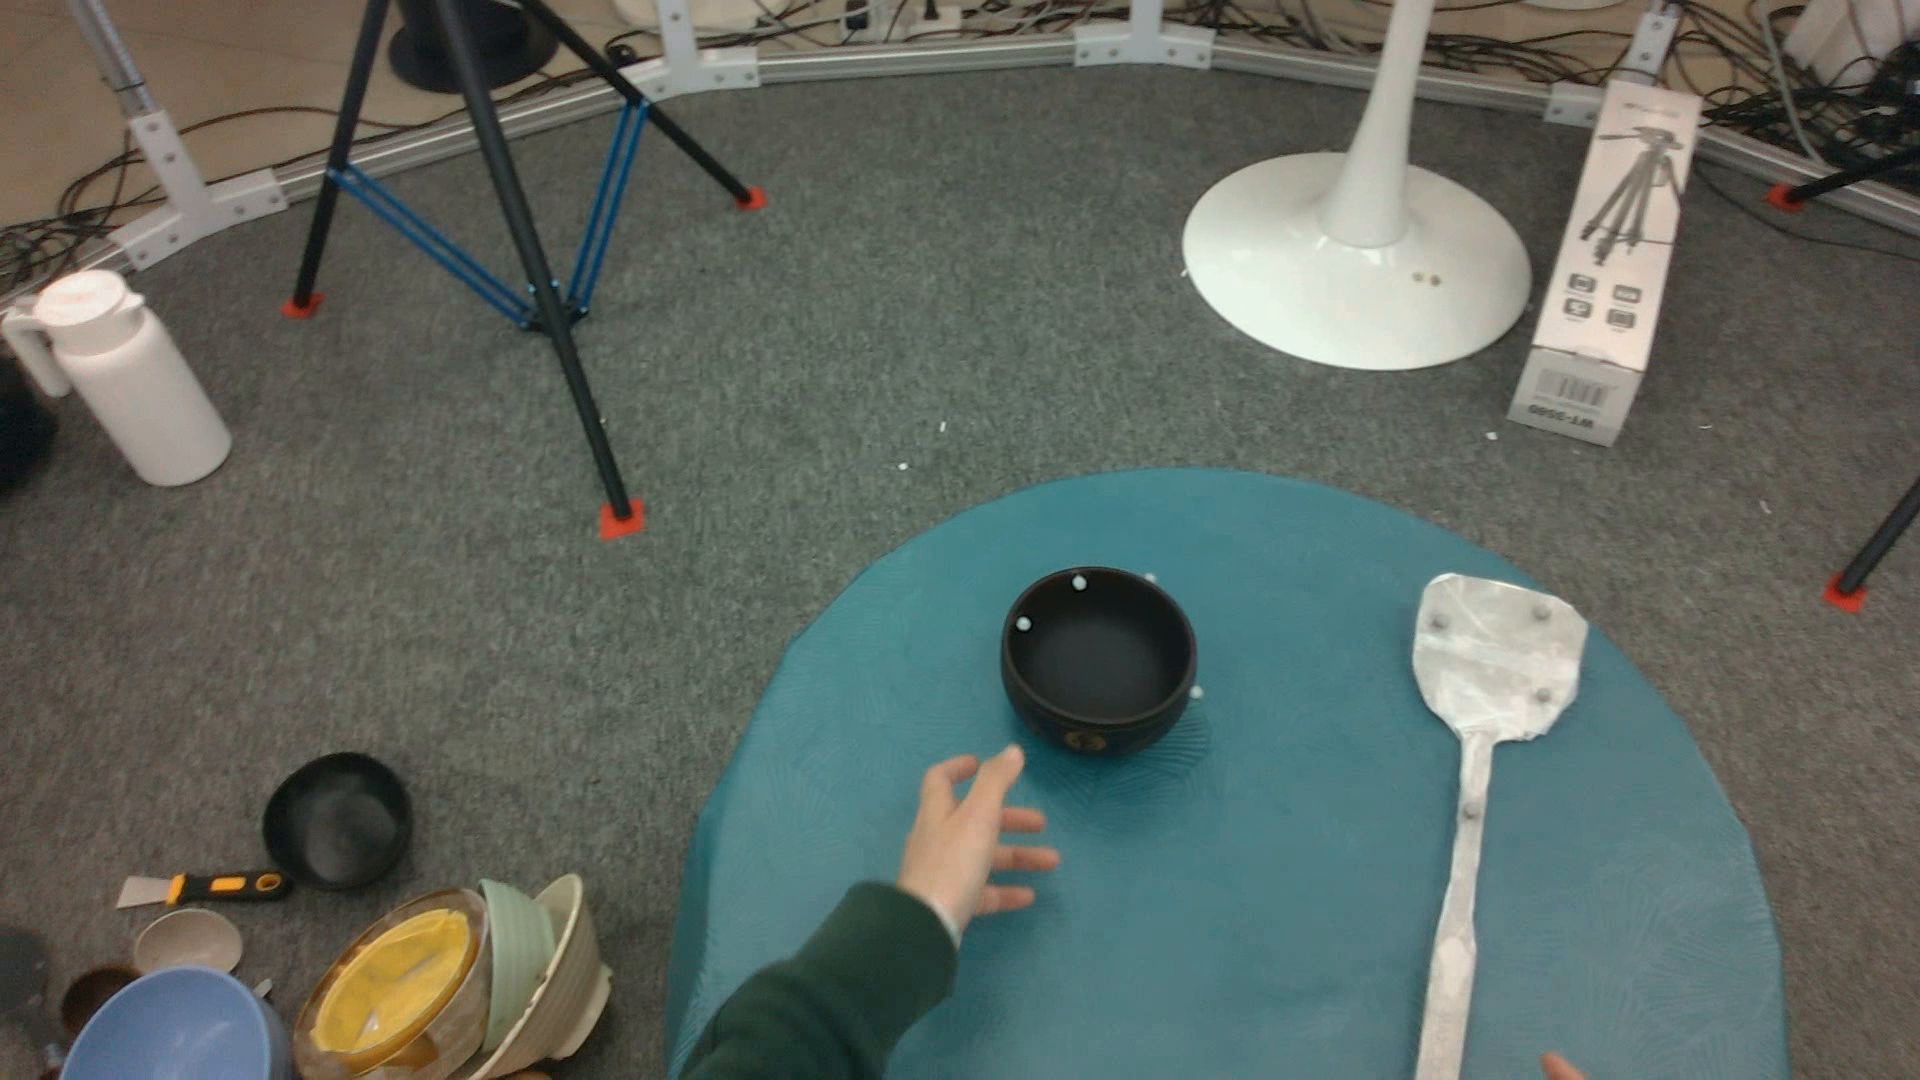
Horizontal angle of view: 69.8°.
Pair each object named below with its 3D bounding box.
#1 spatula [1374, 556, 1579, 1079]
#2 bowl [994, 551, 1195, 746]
[{"bbox_3d":[0.278,0.161,0.776,0.098,0.044,0.367,18,53,12],"label":"spatula"},{"bbox_3d":[0.080,0.072,0.827,0.118,0.069,0.118,-1,52,1],"label":"bowl"}]
